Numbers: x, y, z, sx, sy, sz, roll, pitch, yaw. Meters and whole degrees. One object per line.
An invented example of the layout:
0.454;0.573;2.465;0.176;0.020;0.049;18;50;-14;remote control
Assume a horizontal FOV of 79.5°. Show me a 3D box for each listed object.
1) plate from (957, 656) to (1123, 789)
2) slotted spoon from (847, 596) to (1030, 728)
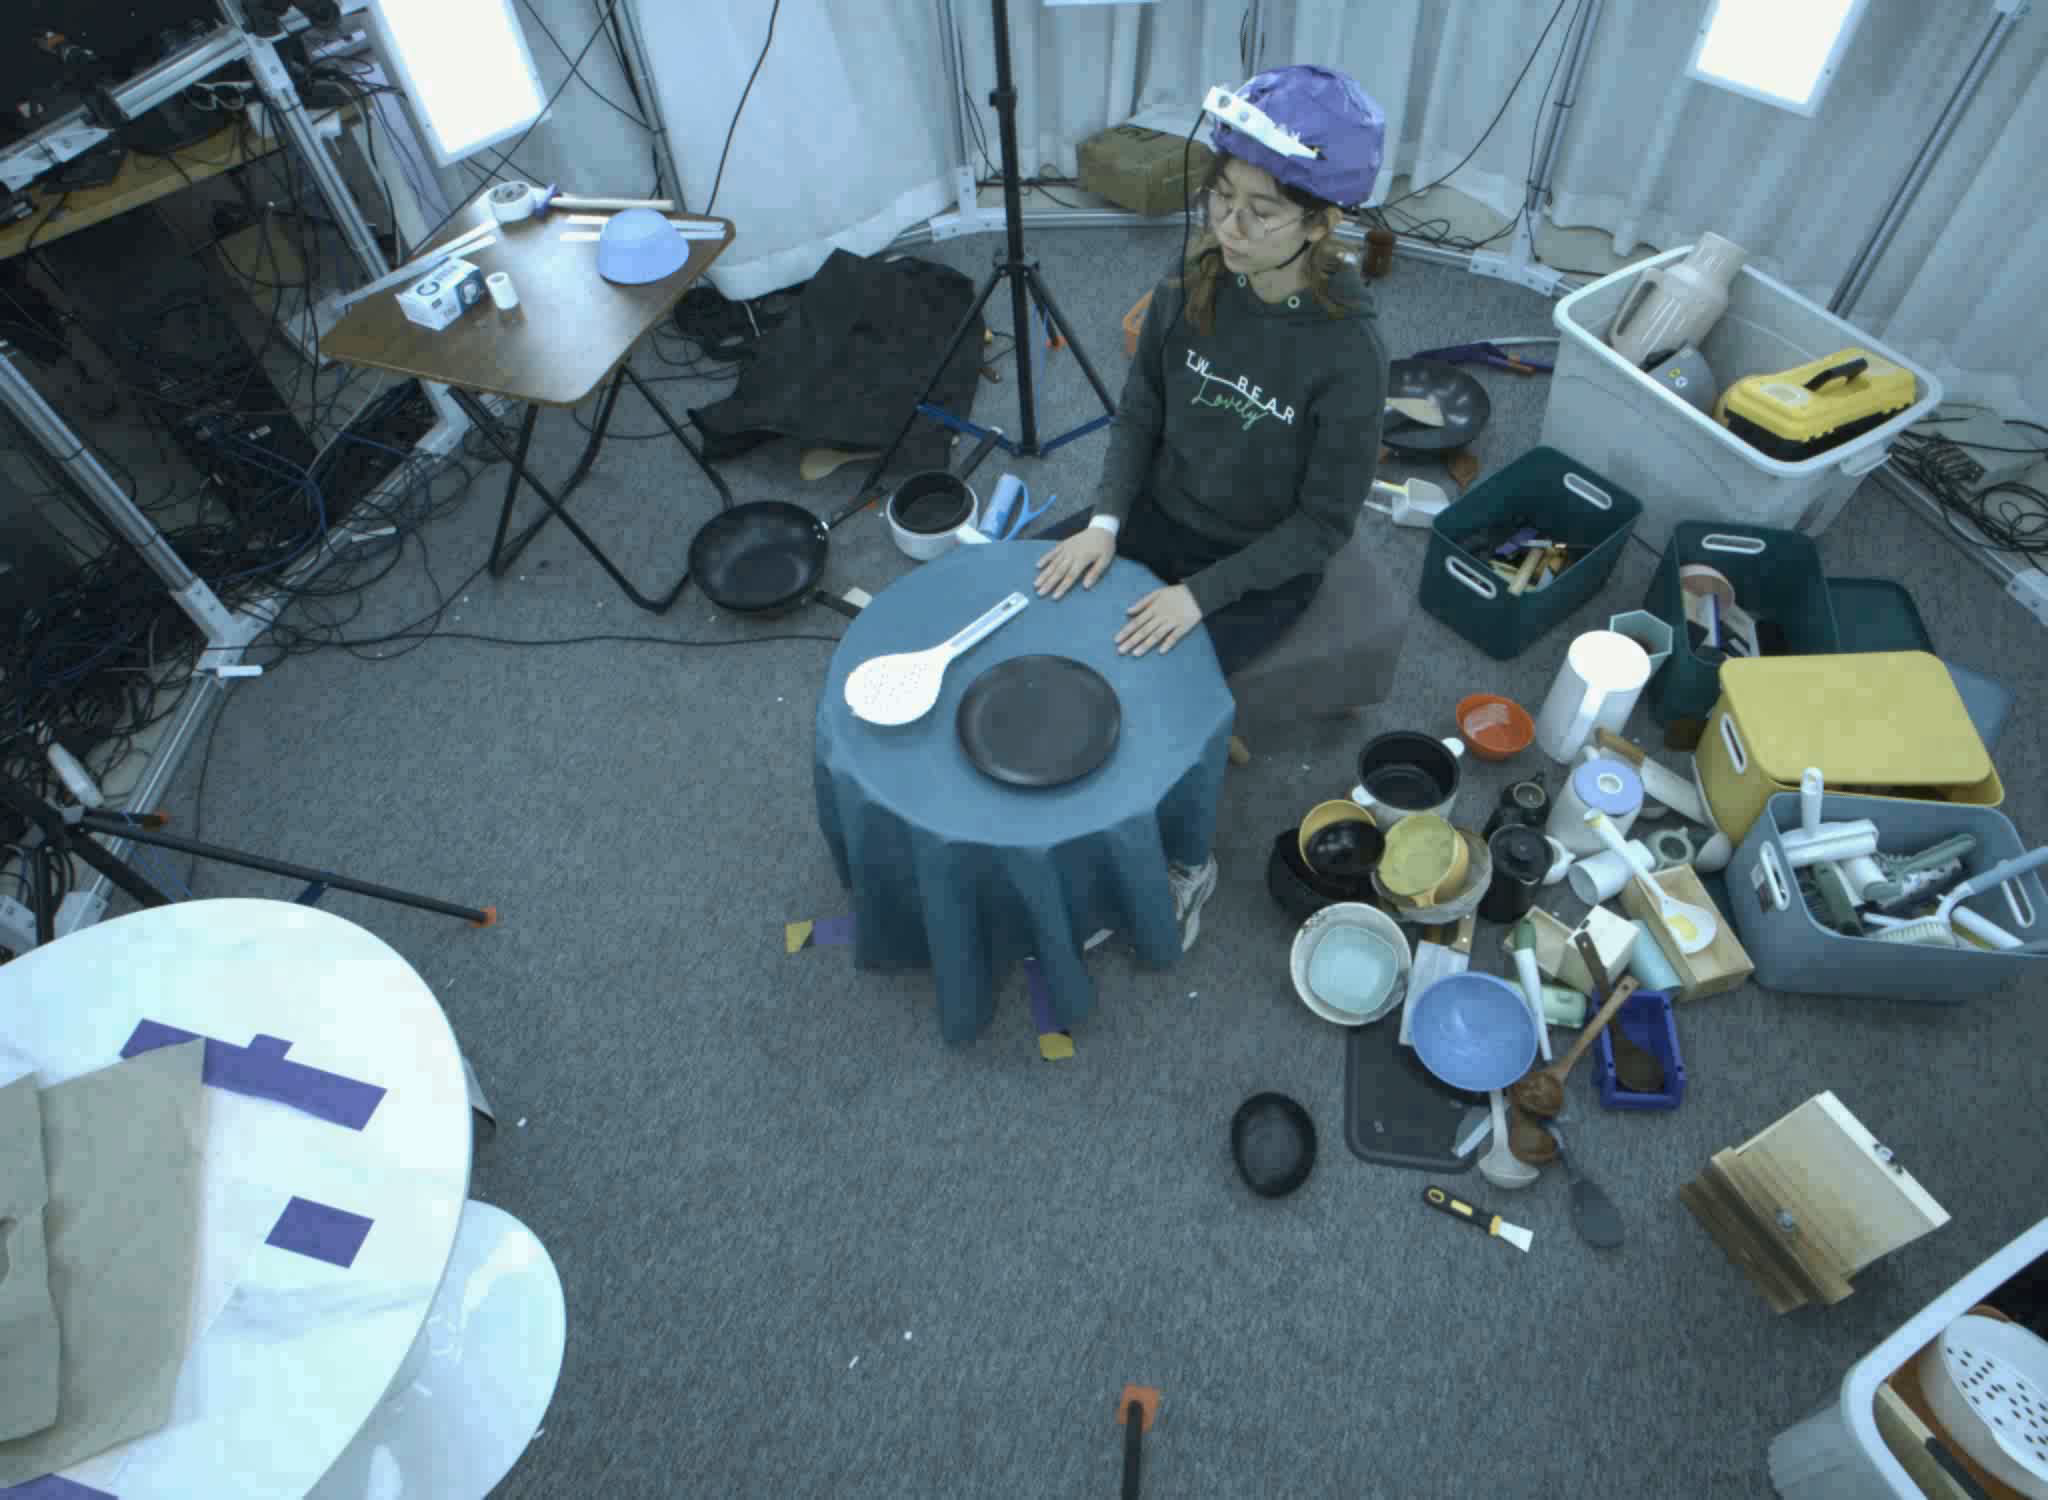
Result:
0.023;-0.038;1.810;0.244;0.024;0.242;0;55;2;plate
-0.120;-0.142;1.873;0.134;0.046;0.352;38;63;22;slotted spoon
